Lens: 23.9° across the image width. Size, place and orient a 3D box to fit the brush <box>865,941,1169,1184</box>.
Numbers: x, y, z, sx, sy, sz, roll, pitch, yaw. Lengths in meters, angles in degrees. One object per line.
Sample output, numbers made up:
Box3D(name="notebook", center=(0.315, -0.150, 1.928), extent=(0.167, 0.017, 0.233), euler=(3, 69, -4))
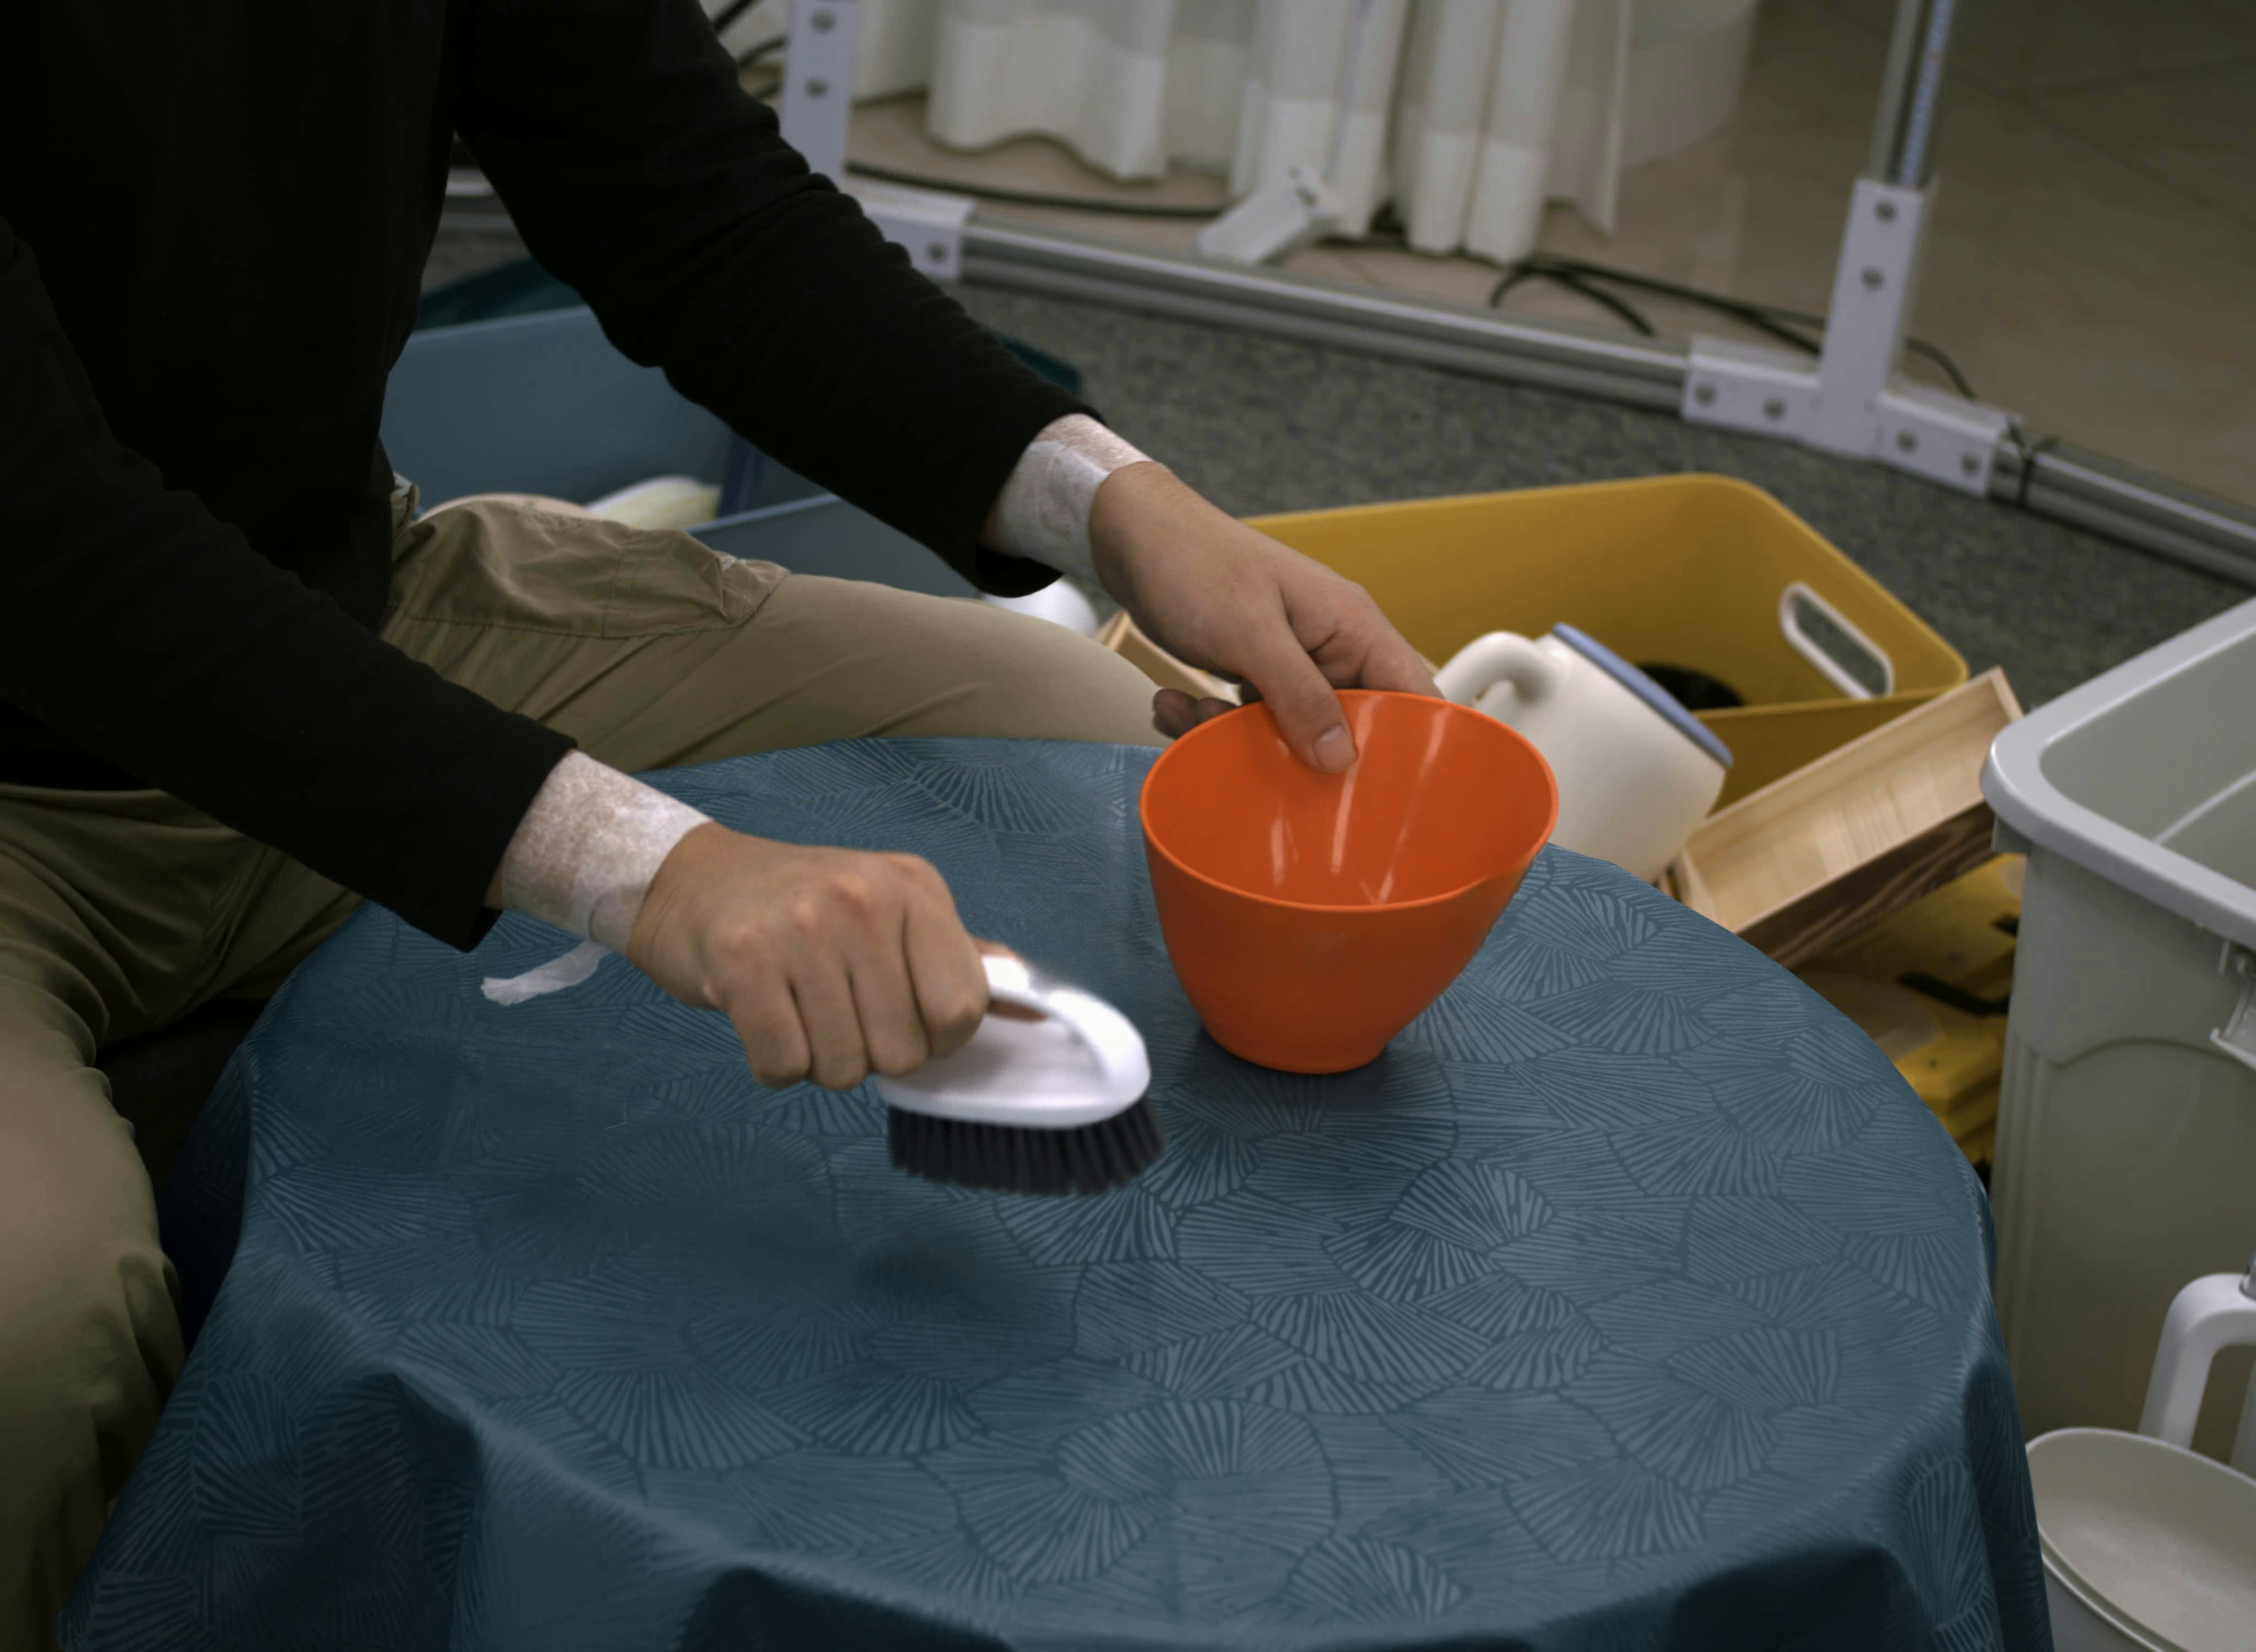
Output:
Box3D(name="brush", center=(-0.040, 0.070, 1.715), extent=(0.099, 0.072, 0.050), euler=(6, 36, 32))

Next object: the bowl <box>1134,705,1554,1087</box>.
Box3D(name="bowl", center=(0.074, 0.030, 1.896), extent=(0.147, 0.104, 0.149), euler=(3, 25, -2))
